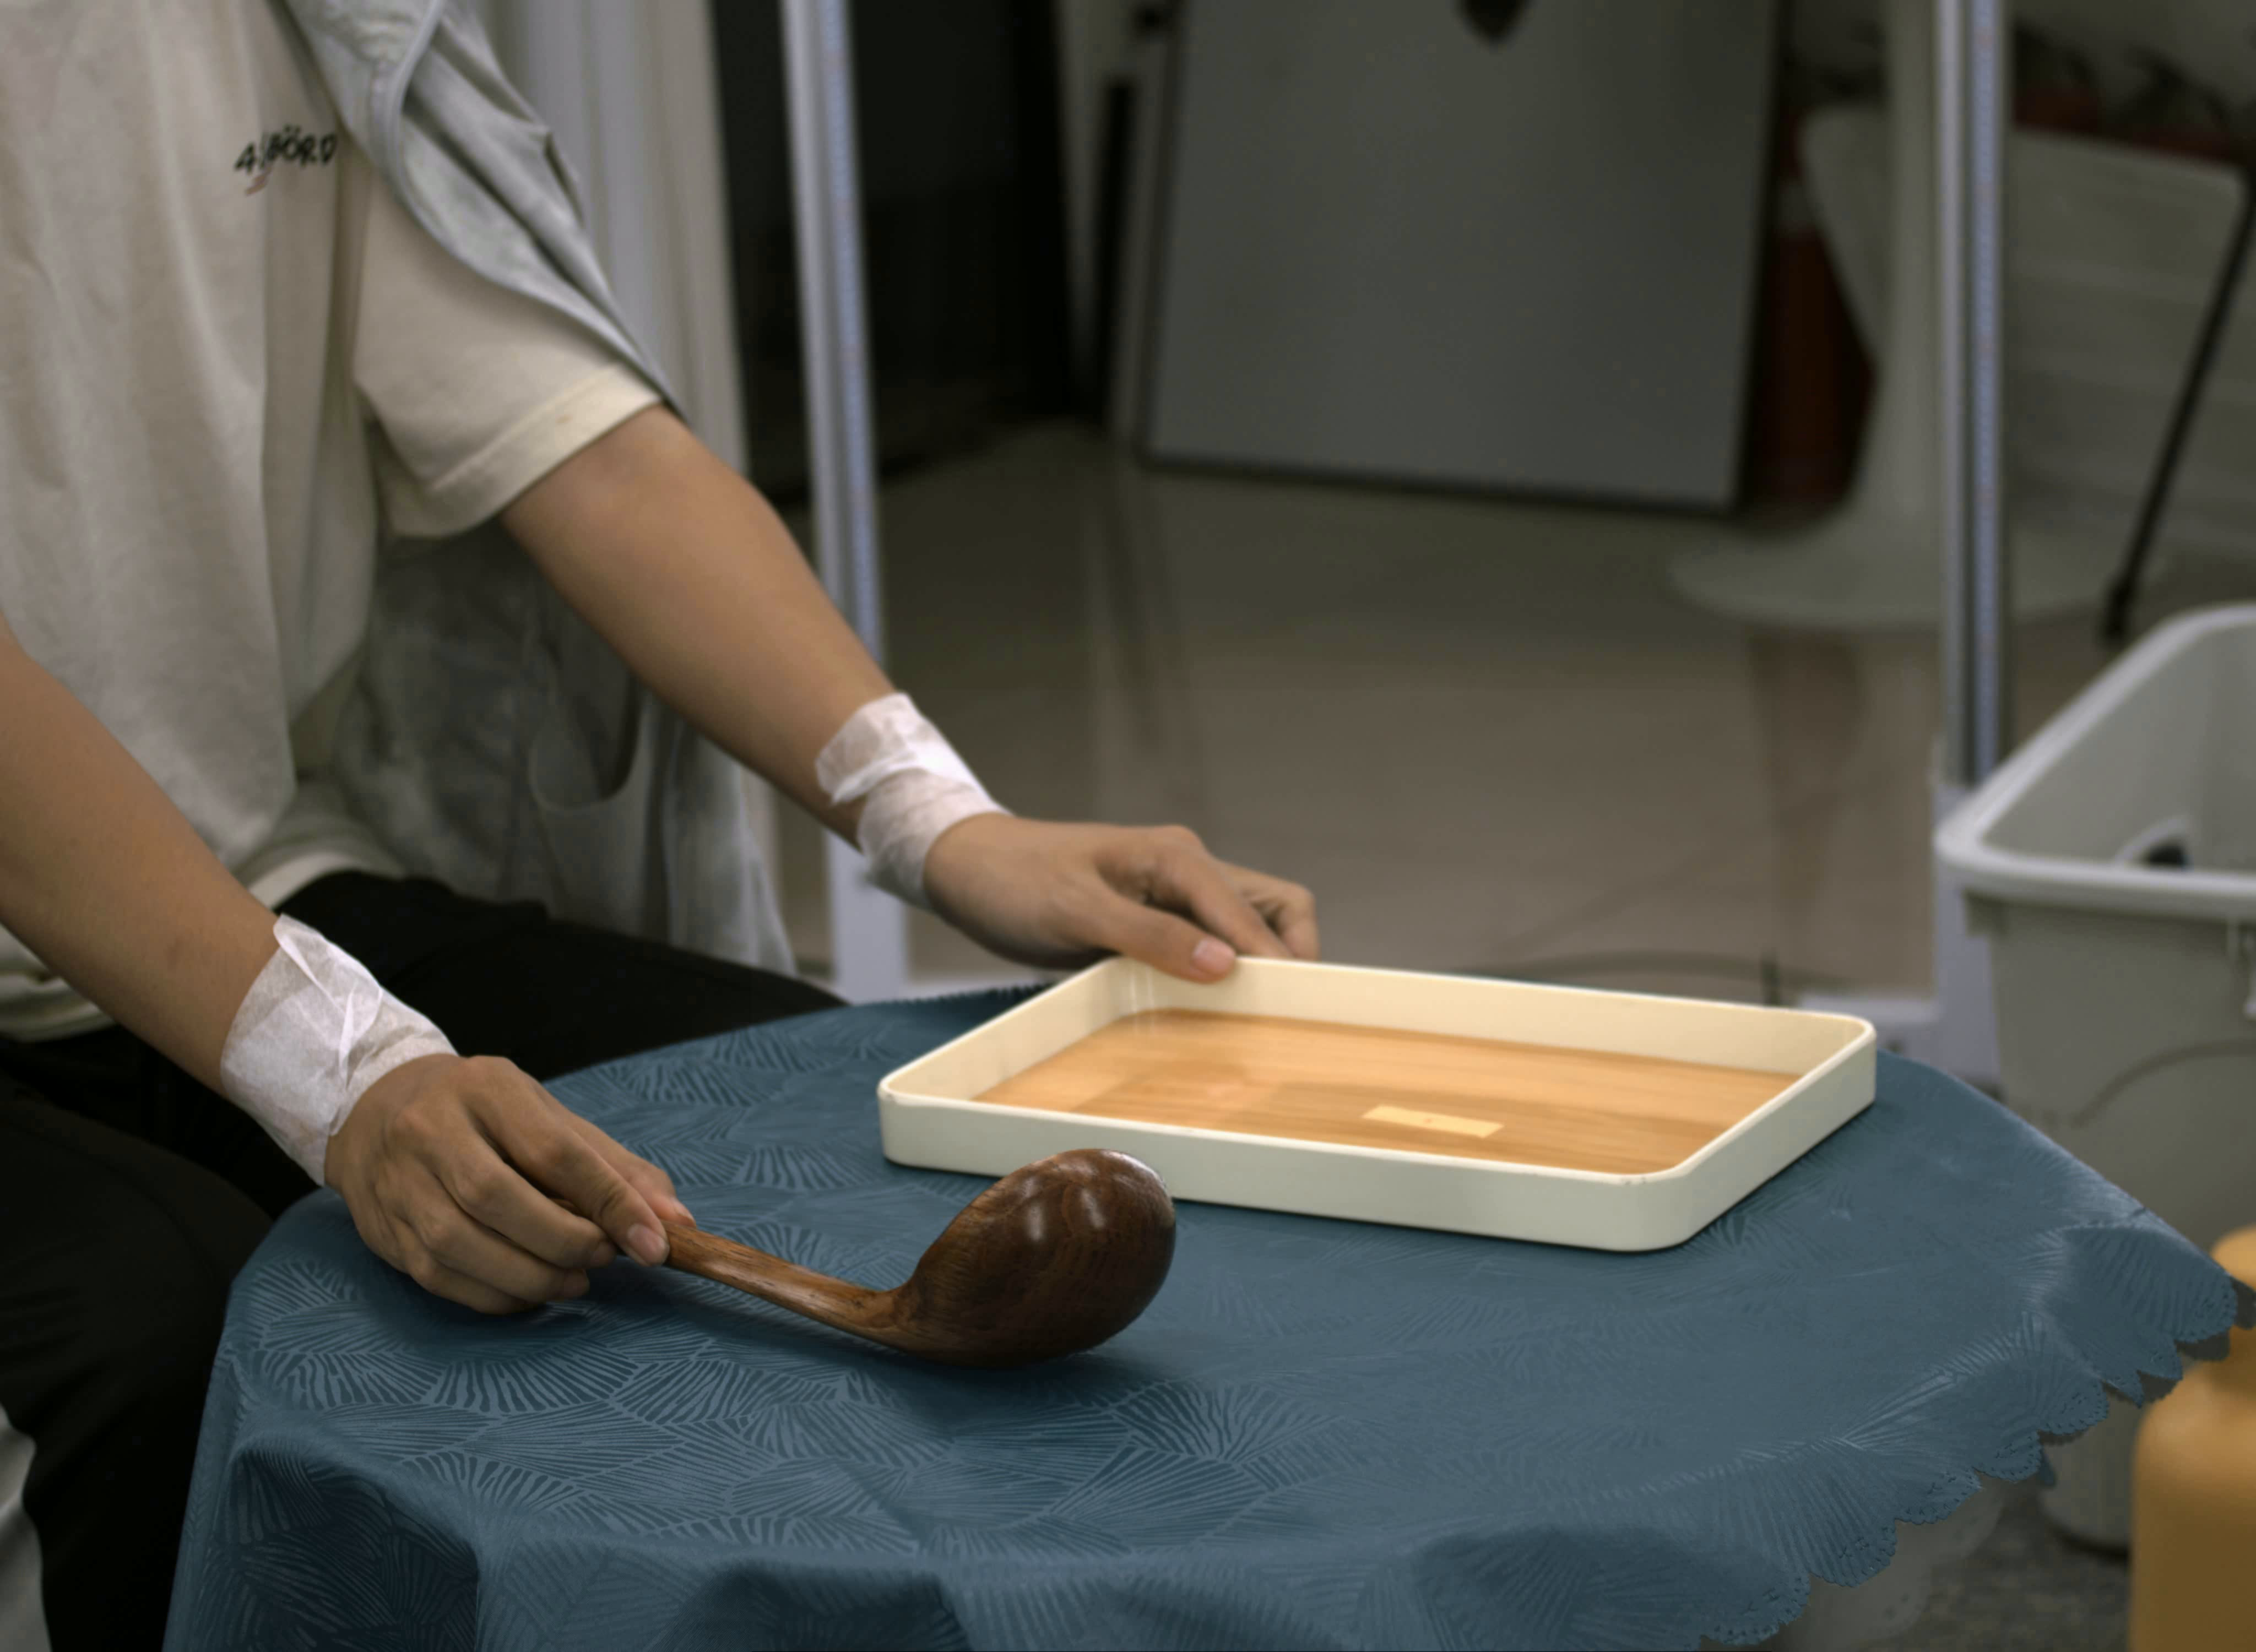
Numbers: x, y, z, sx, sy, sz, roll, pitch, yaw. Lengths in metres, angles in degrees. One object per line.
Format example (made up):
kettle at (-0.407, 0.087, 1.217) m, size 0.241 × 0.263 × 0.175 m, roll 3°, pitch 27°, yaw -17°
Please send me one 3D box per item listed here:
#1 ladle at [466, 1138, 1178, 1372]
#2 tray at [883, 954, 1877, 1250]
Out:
ladle at (-0.100, 0.116, 1.668) m, size 0.276 × 0.077 × 0.080 m, roll 9°, pitch -19°, yaw 43°
tray at (0.085, 0.090, 1.819) m, size 0.301 × 0.028 × 0.188 m, roll 4°, pitch 16°, yaw 31°
